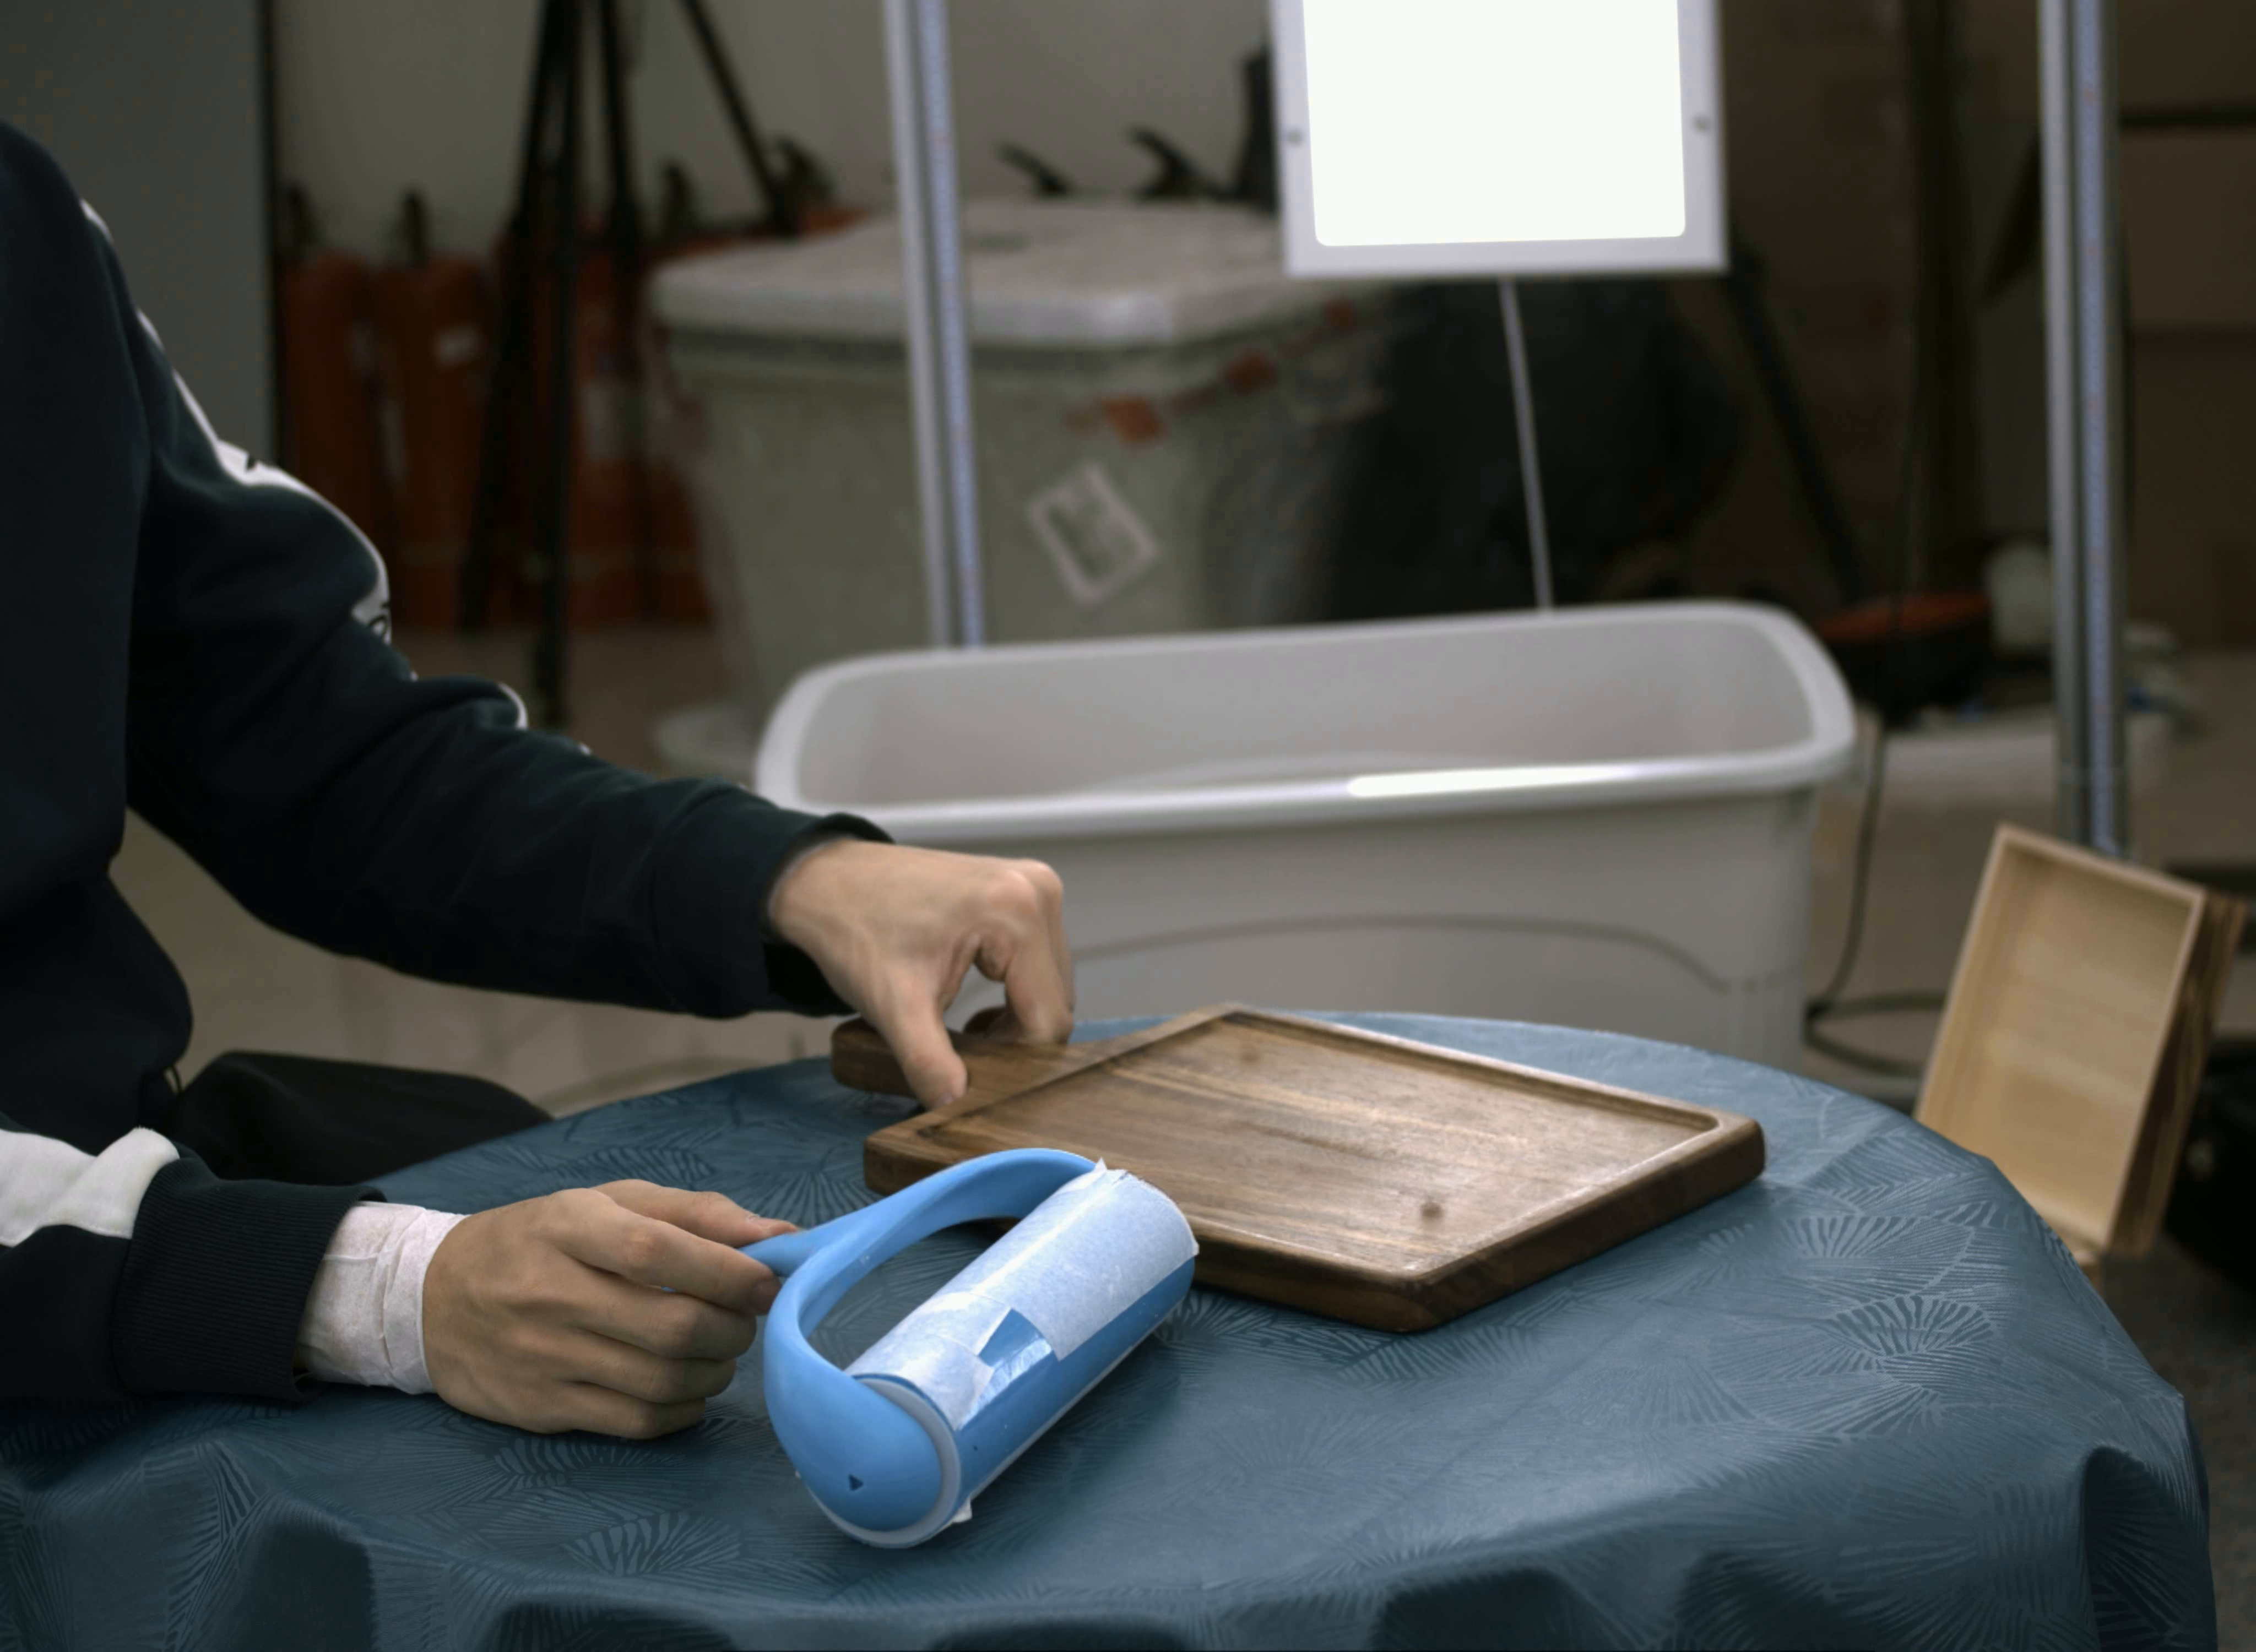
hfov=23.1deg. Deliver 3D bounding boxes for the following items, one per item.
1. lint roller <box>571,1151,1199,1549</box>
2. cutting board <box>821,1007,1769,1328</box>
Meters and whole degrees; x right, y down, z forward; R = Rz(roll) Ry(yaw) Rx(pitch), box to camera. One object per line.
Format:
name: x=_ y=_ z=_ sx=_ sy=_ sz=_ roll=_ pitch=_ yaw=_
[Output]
lint roller: x=-0.091 y=0.156 z=1.687 sx=0.182 sy=0.068 sz=0.225 roll=1 pitch=16 yaw=20
cutting board: x=0.026 y=0.105 z=1.903 sx=0.359 sy=0.023 sz=0.196 roll=10 pitch=20 yaw=42
